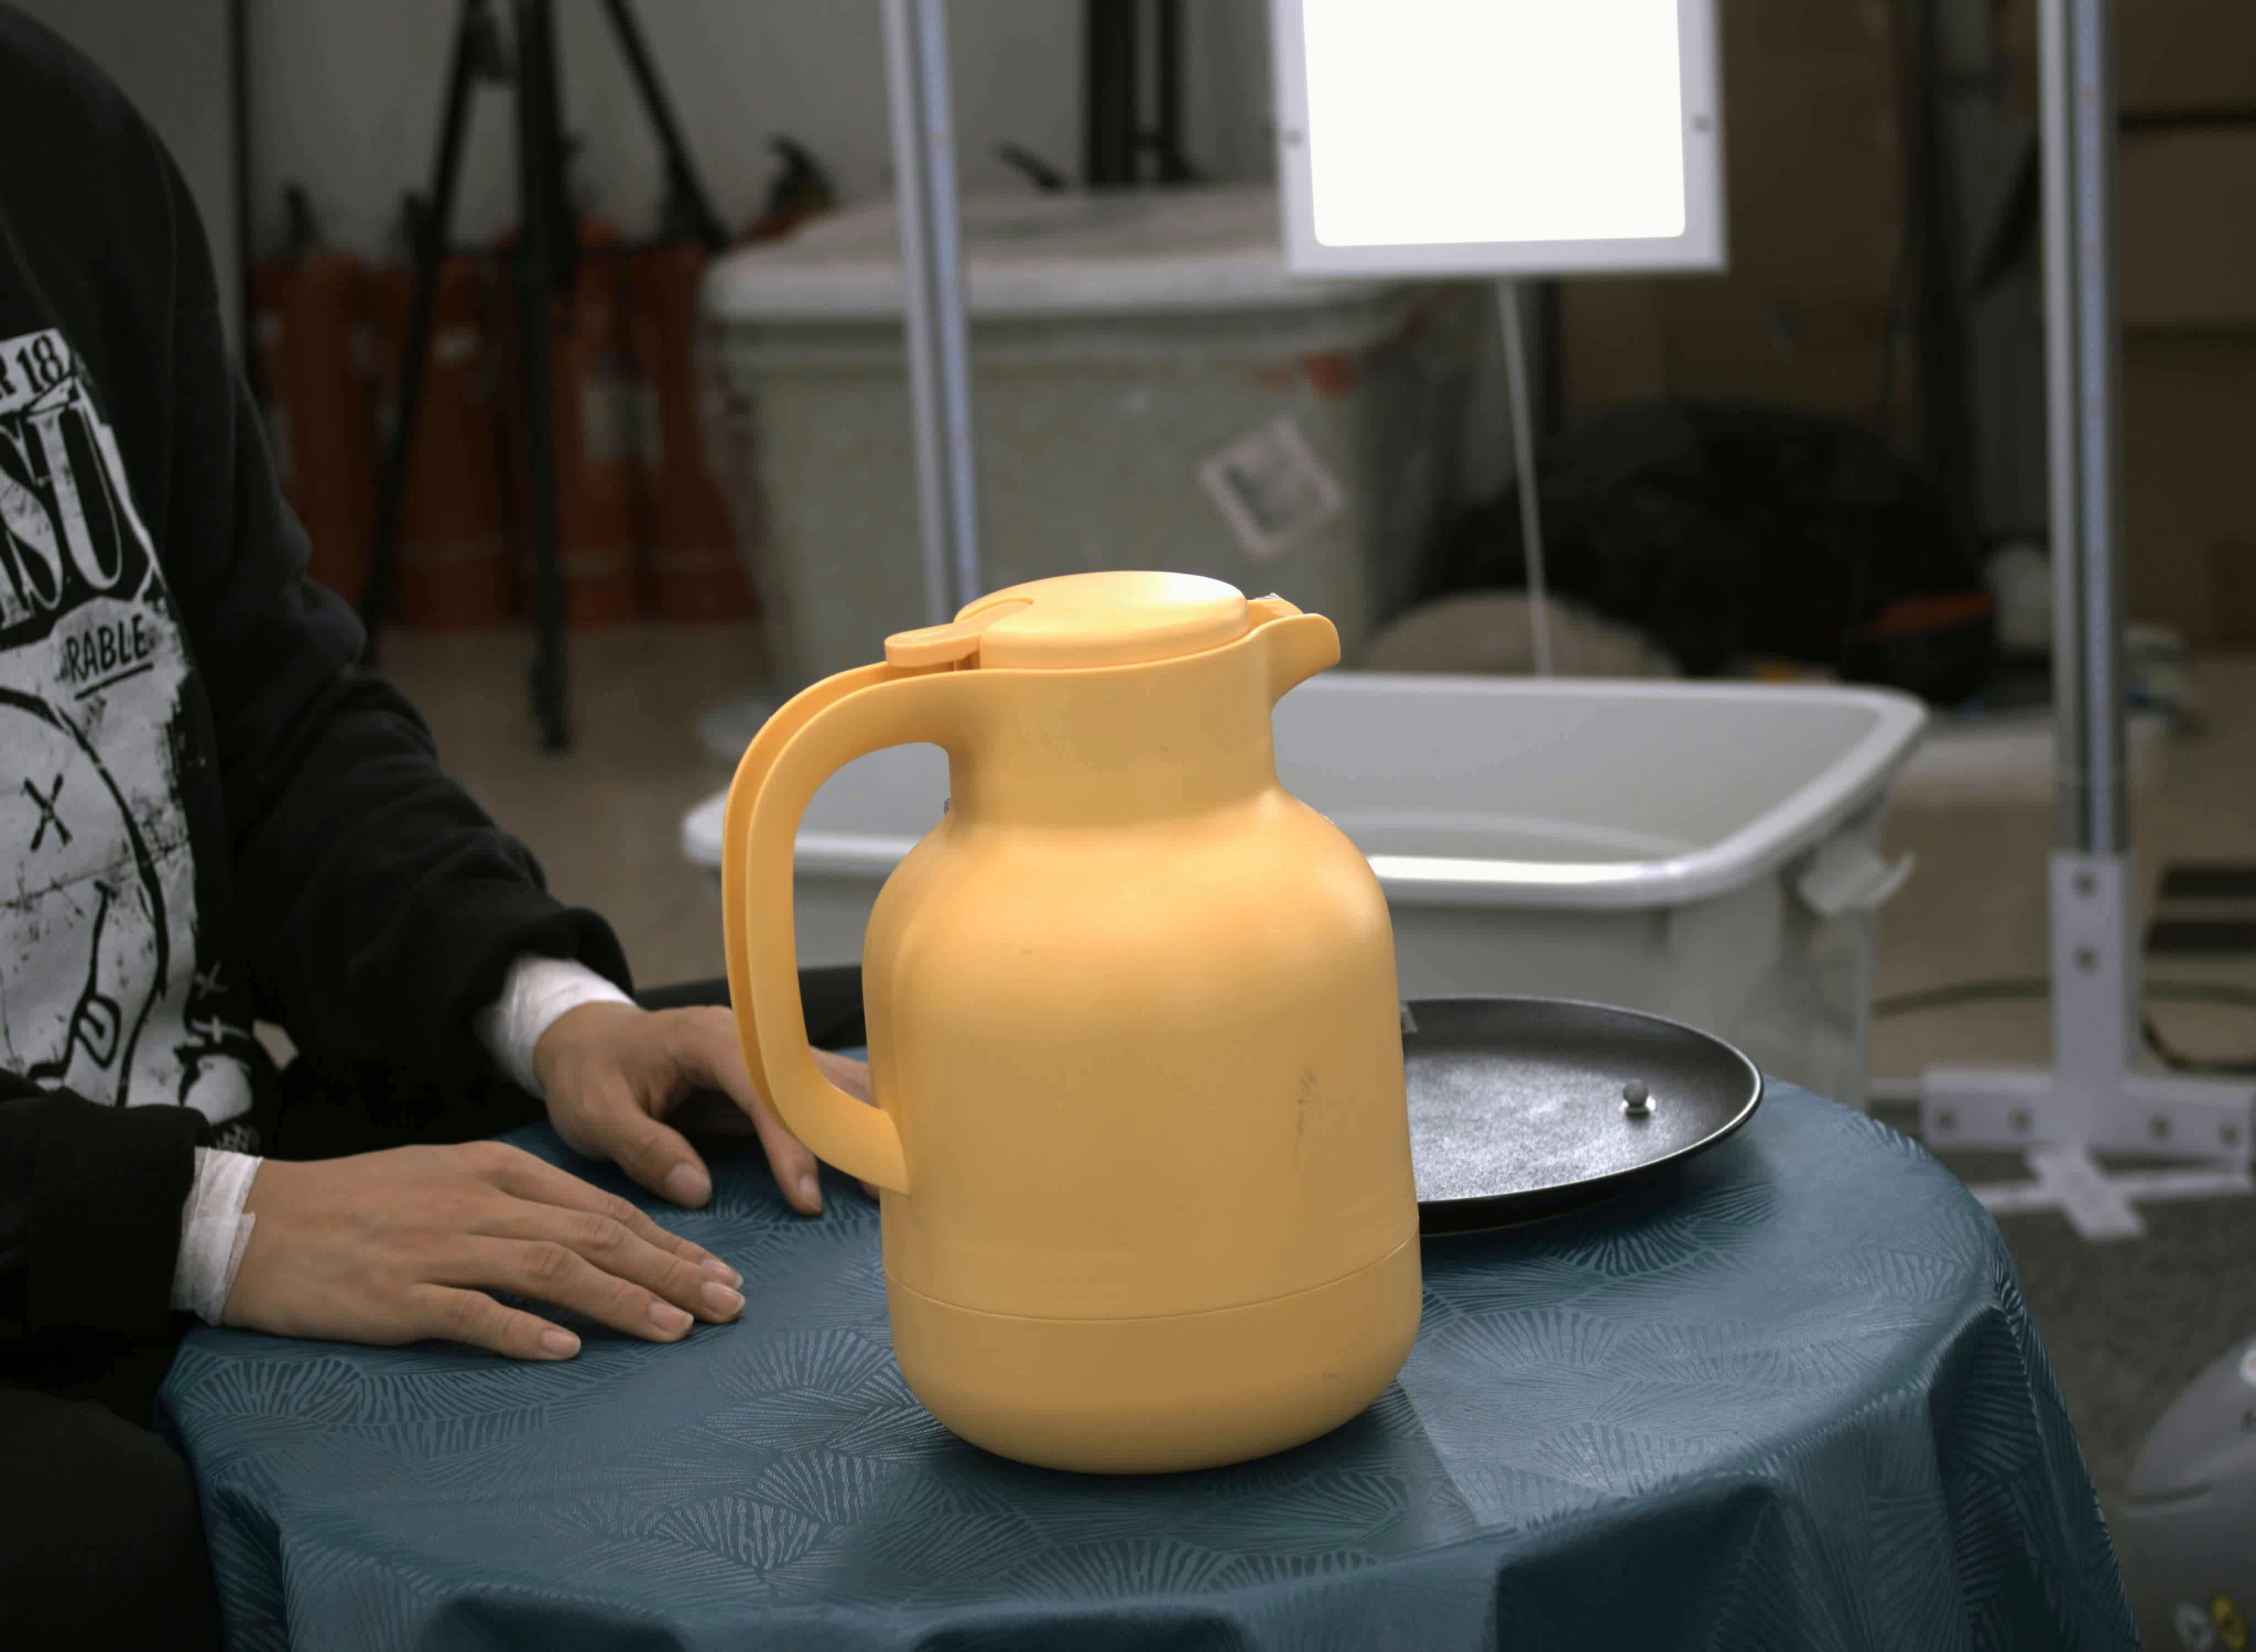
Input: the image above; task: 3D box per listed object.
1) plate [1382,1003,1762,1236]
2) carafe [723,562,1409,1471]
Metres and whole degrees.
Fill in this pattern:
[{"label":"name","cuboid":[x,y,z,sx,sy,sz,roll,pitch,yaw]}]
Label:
[{"label":"plate","cuboid":[0.099,0.104,1.905,0.244,0.023,0.244,-5,14,0]},{"label":"carafe","cuboid":[-0.019,0.055,1.644,0.199,0.261,0.165,-7,11,-16]}]
